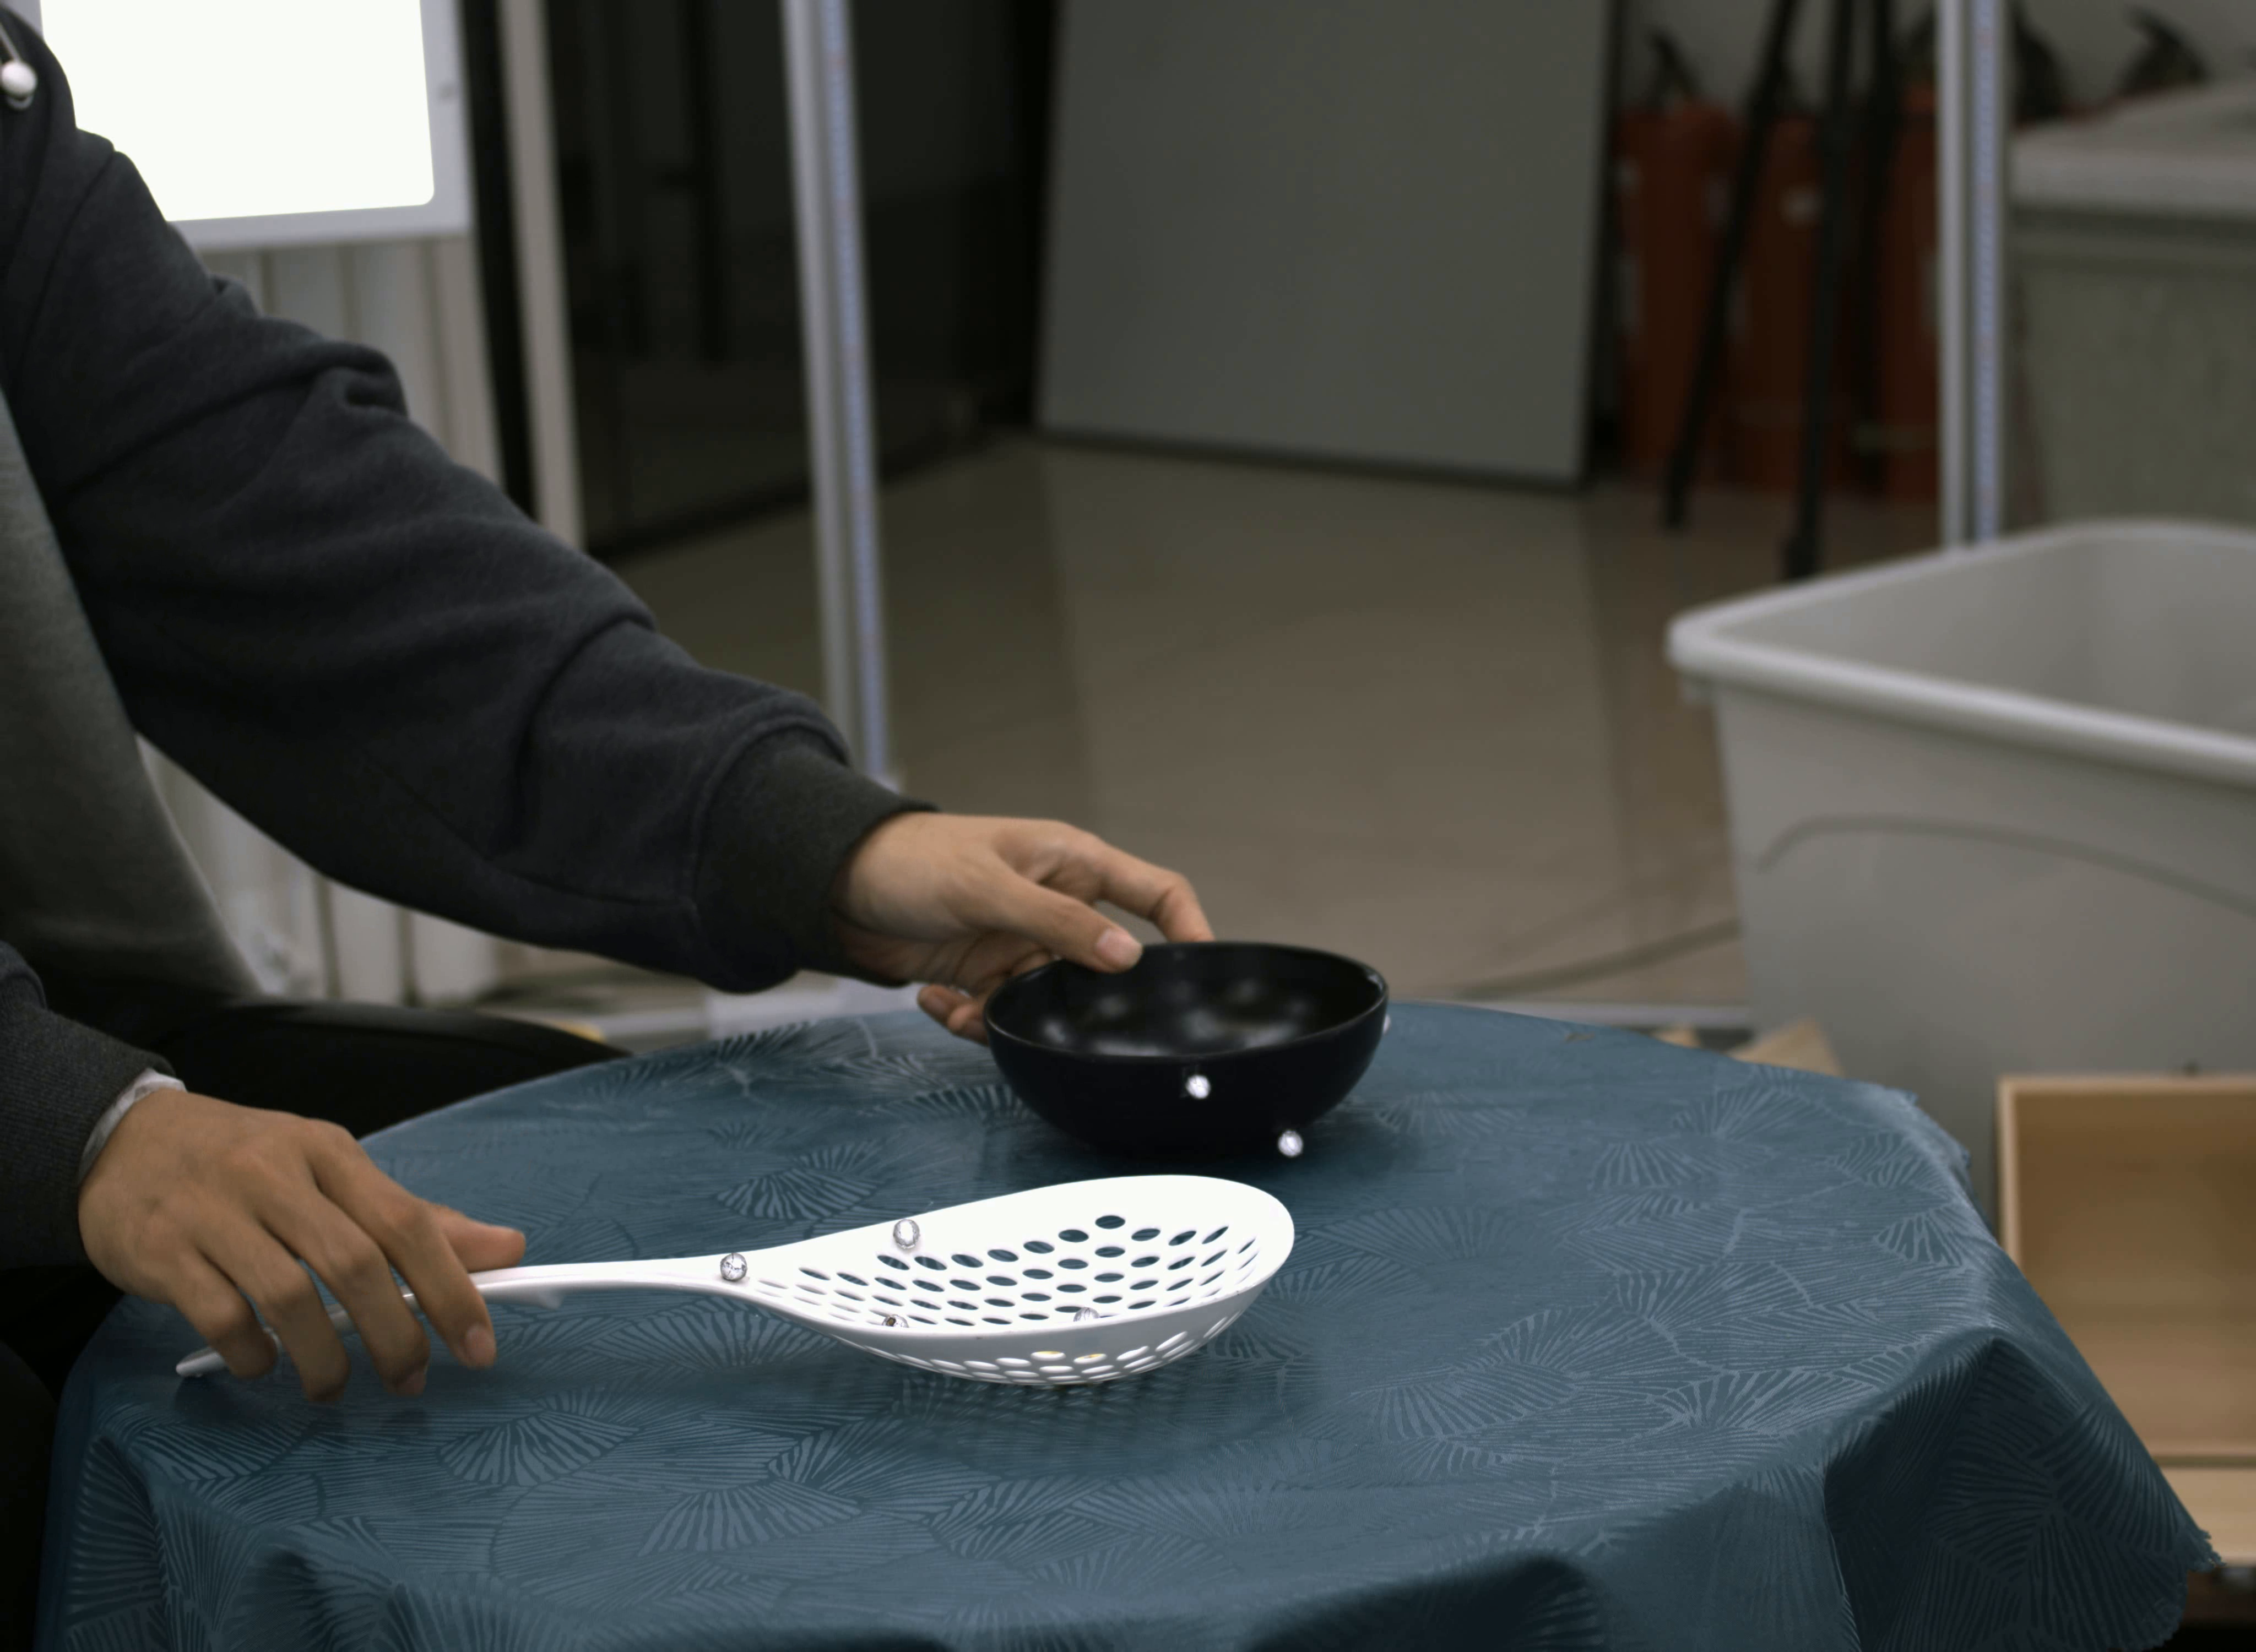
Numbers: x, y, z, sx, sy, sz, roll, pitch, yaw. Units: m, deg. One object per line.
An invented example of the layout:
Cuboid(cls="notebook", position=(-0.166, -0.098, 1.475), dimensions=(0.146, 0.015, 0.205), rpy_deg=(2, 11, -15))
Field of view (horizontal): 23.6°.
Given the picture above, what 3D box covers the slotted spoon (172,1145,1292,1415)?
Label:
Cuboid(cls="slotted spoon", position=(-0.120, 0.145, 1.620), dimensions=(0.345, 0.051, 0.136), rpy_deg=(-2, 17, 9))
